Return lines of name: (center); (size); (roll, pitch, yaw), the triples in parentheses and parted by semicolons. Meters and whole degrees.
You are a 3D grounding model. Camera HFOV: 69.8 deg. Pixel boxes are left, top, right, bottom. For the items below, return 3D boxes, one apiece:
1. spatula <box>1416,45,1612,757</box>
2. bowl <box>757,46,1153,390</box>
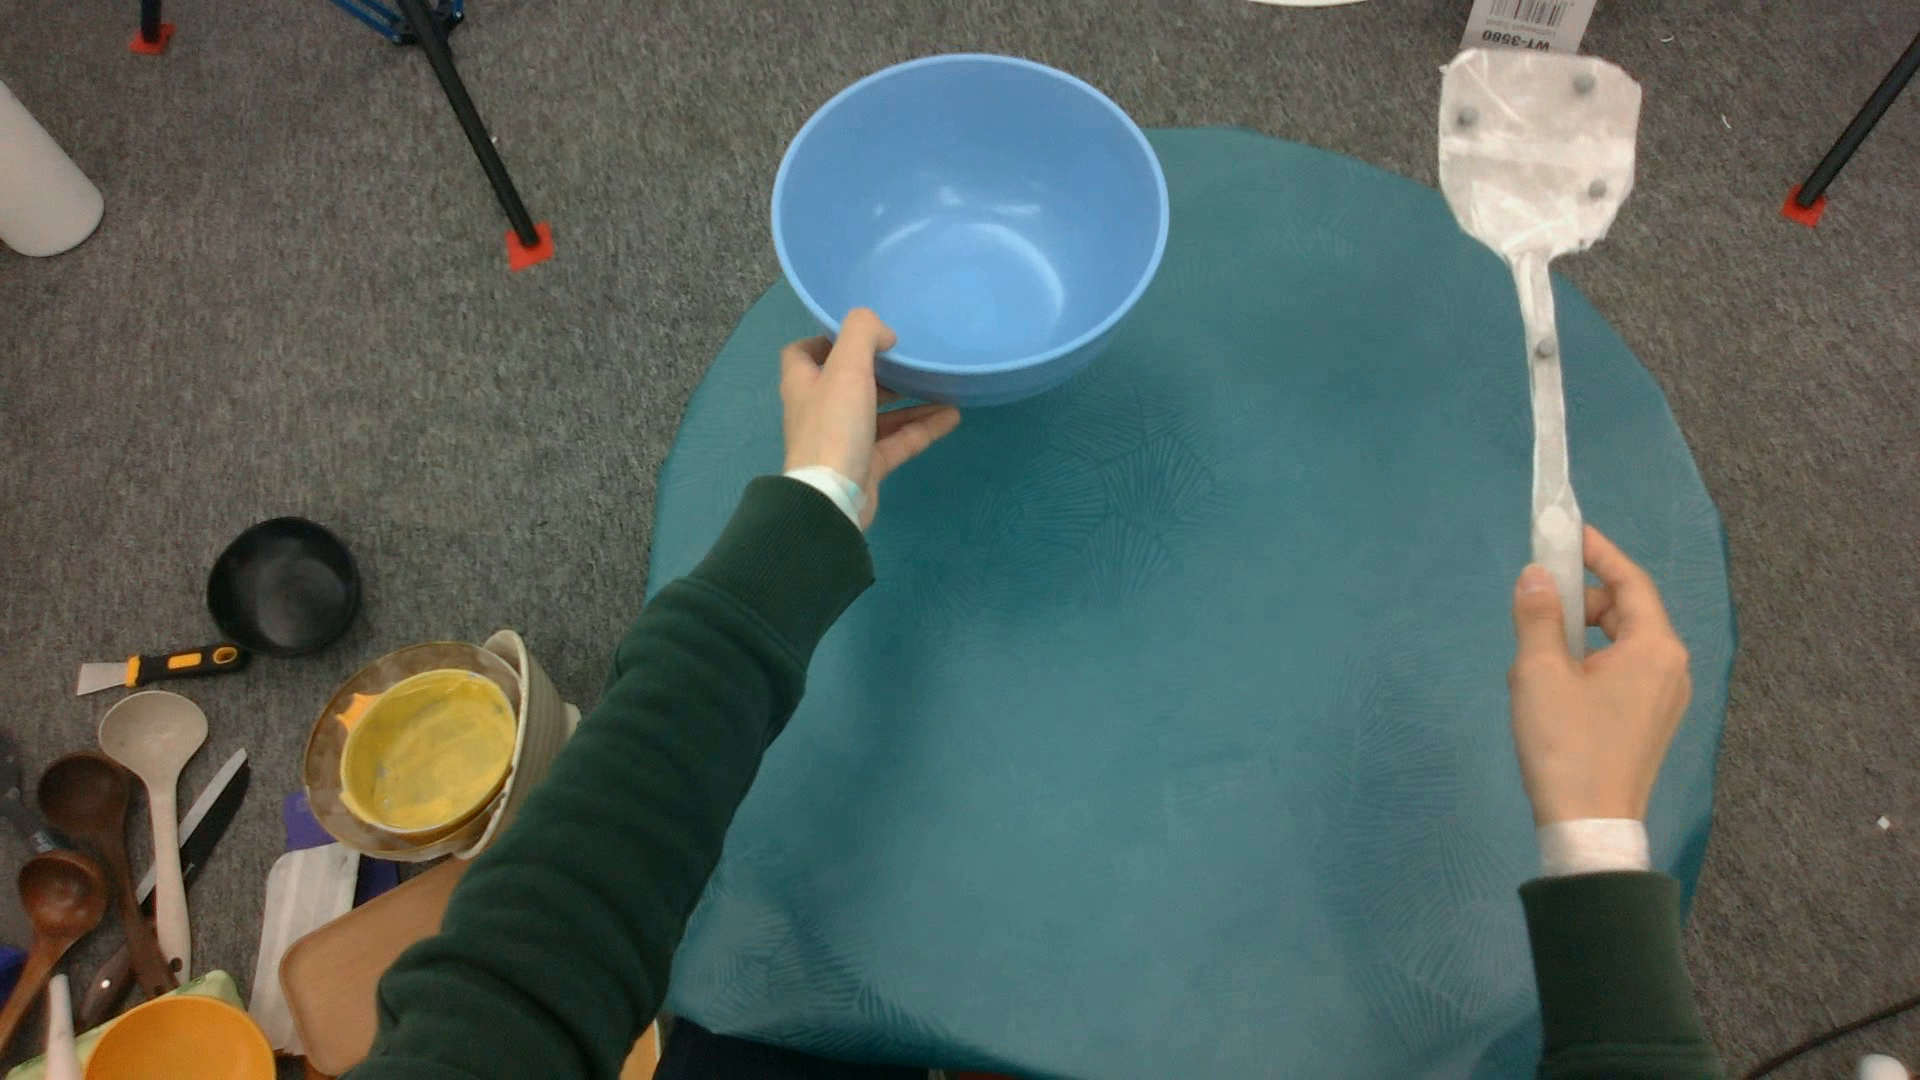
spatula: (0.259, -0.078, 0.645); (0.099, 0.044, 0.366); (10, 65, -1)
bowl: (-0.003, -0.153, 0.722); (0.196, 0.095, 0.197); (0, 62, -1)
